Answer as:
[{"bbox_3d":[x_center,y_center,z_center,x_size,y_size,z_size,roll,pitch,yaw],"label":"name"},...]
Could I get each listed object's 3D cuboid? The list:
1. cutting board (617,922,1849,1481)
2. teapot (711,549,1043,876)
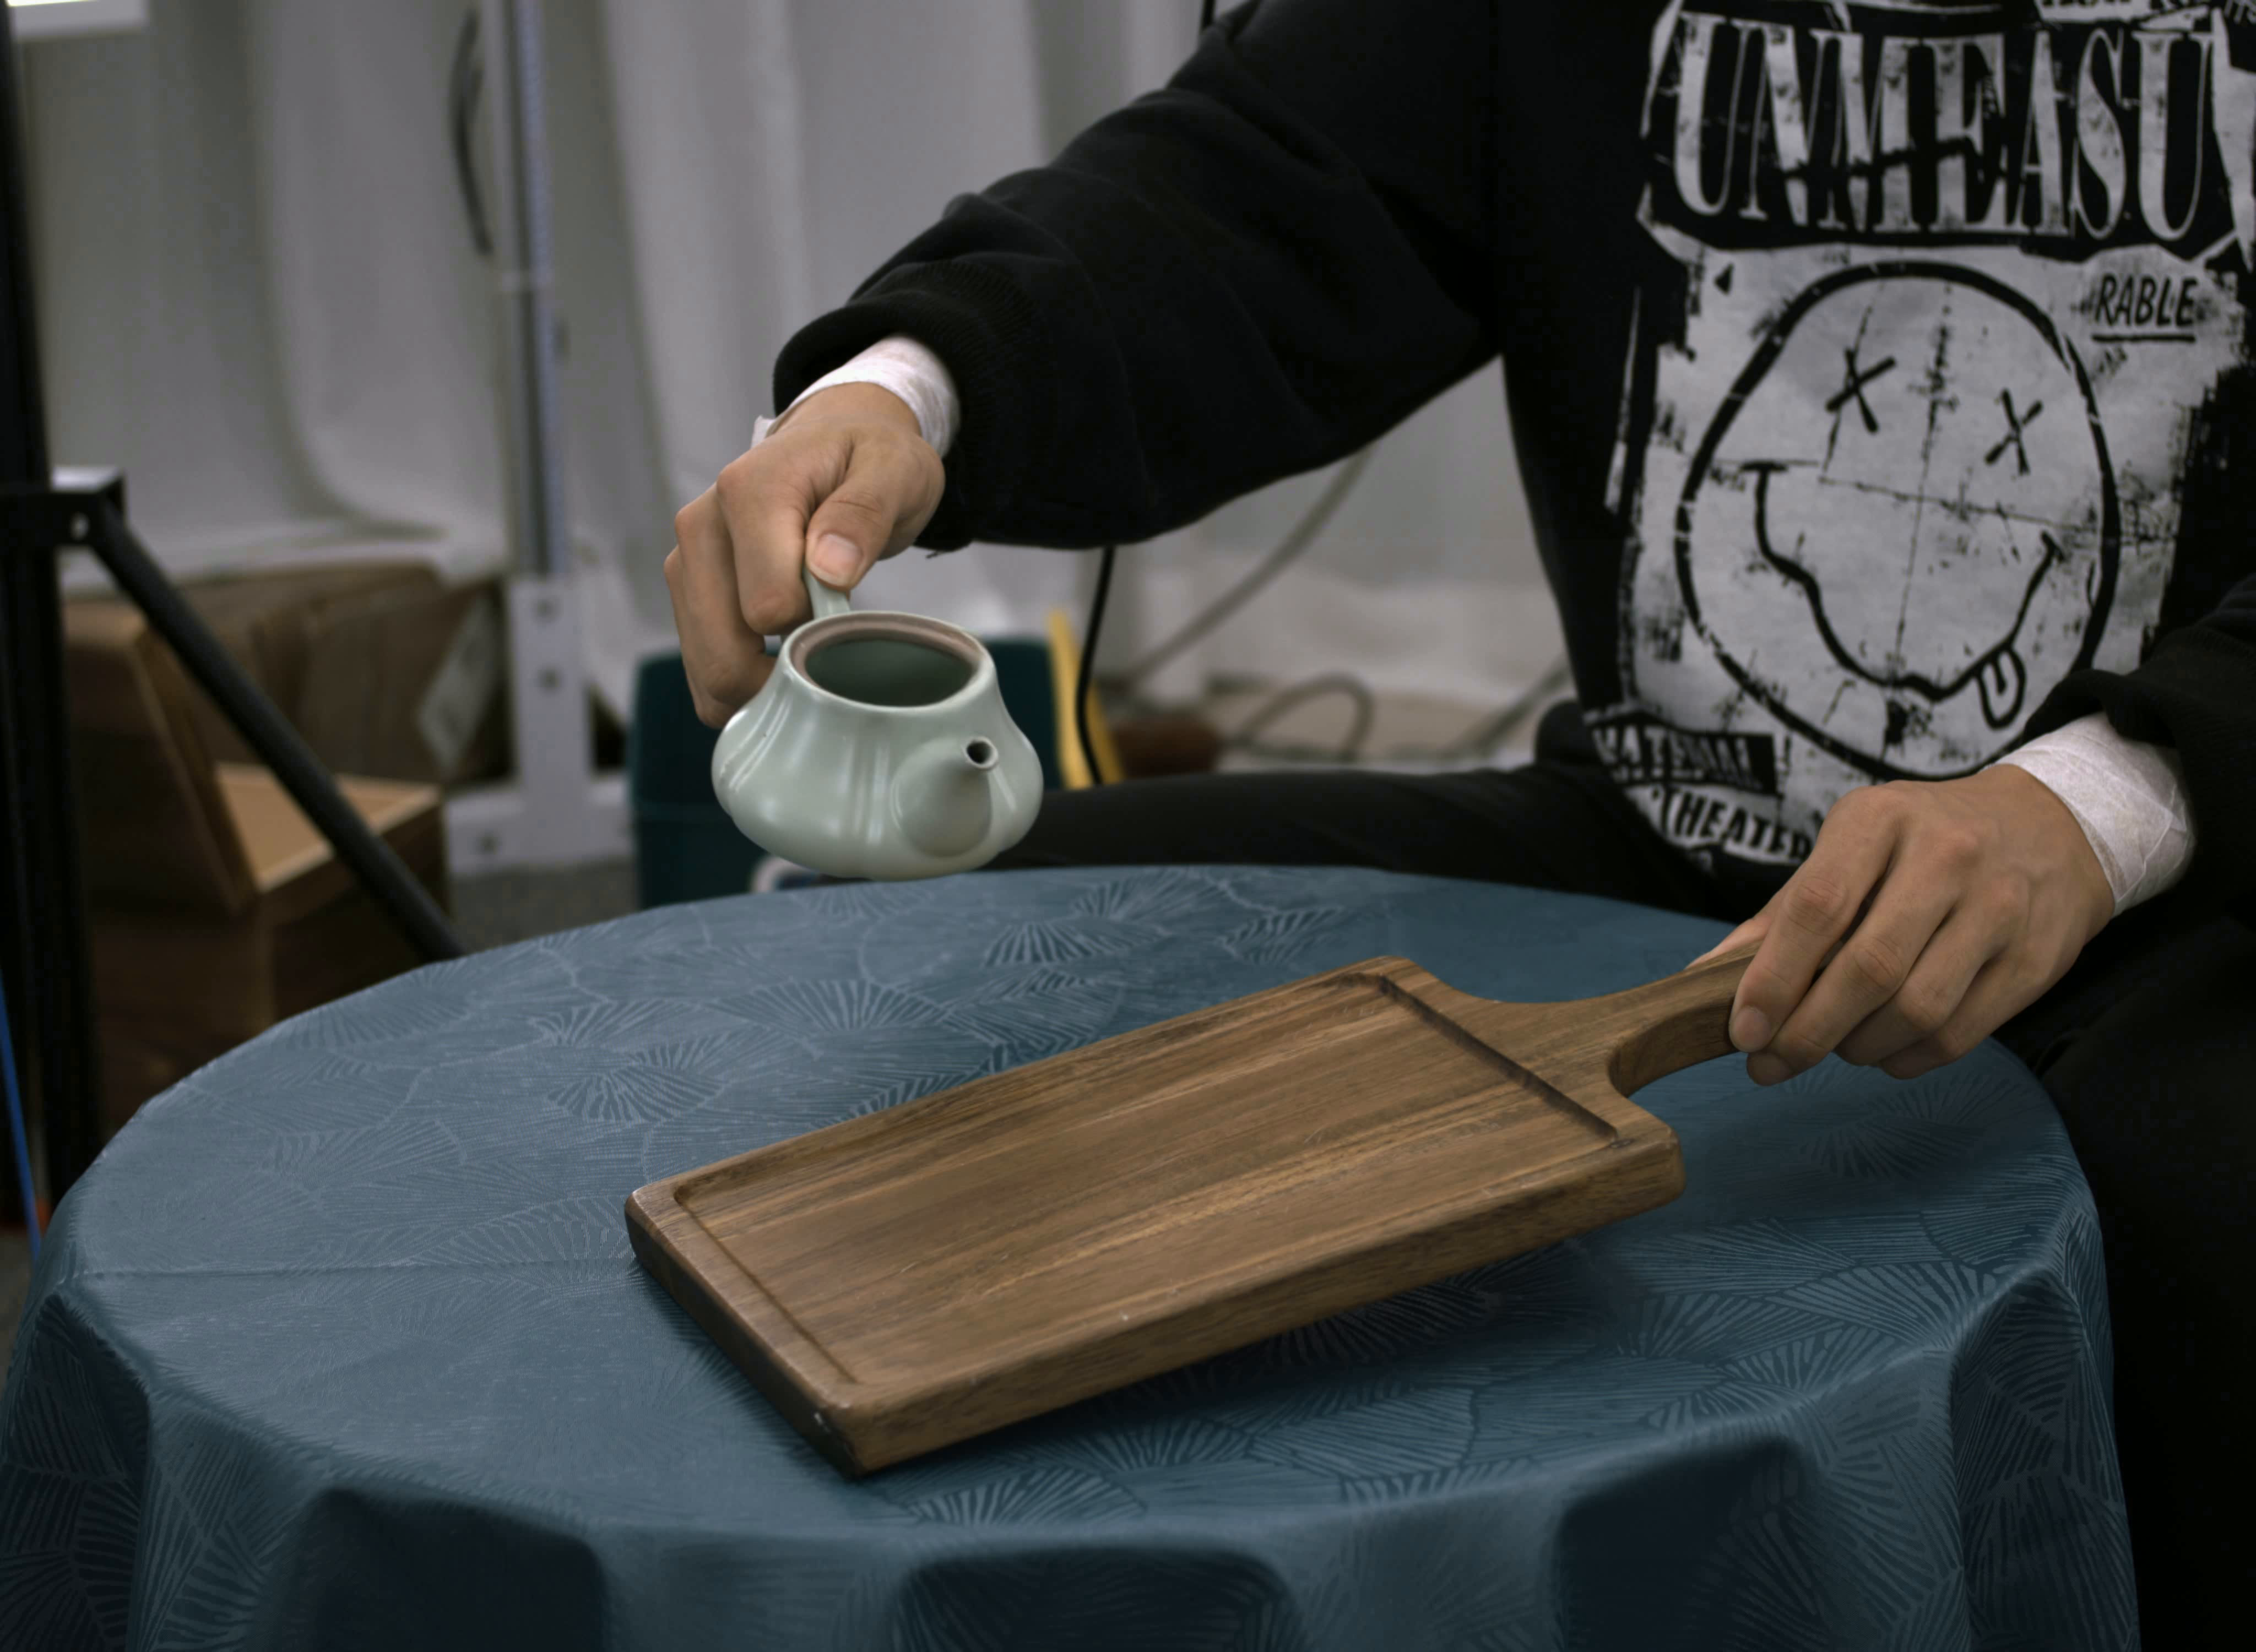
[{"bbox_3d":[0.048,0.089,1.484,0.347,0.023,0.205,-17,20,-17],"label":"cutting board"},{"bbox_3d":[-0.073,-0.029,1.542,0.094,0.061,0.140,-12,34,-26],"label":"teapot"}]
